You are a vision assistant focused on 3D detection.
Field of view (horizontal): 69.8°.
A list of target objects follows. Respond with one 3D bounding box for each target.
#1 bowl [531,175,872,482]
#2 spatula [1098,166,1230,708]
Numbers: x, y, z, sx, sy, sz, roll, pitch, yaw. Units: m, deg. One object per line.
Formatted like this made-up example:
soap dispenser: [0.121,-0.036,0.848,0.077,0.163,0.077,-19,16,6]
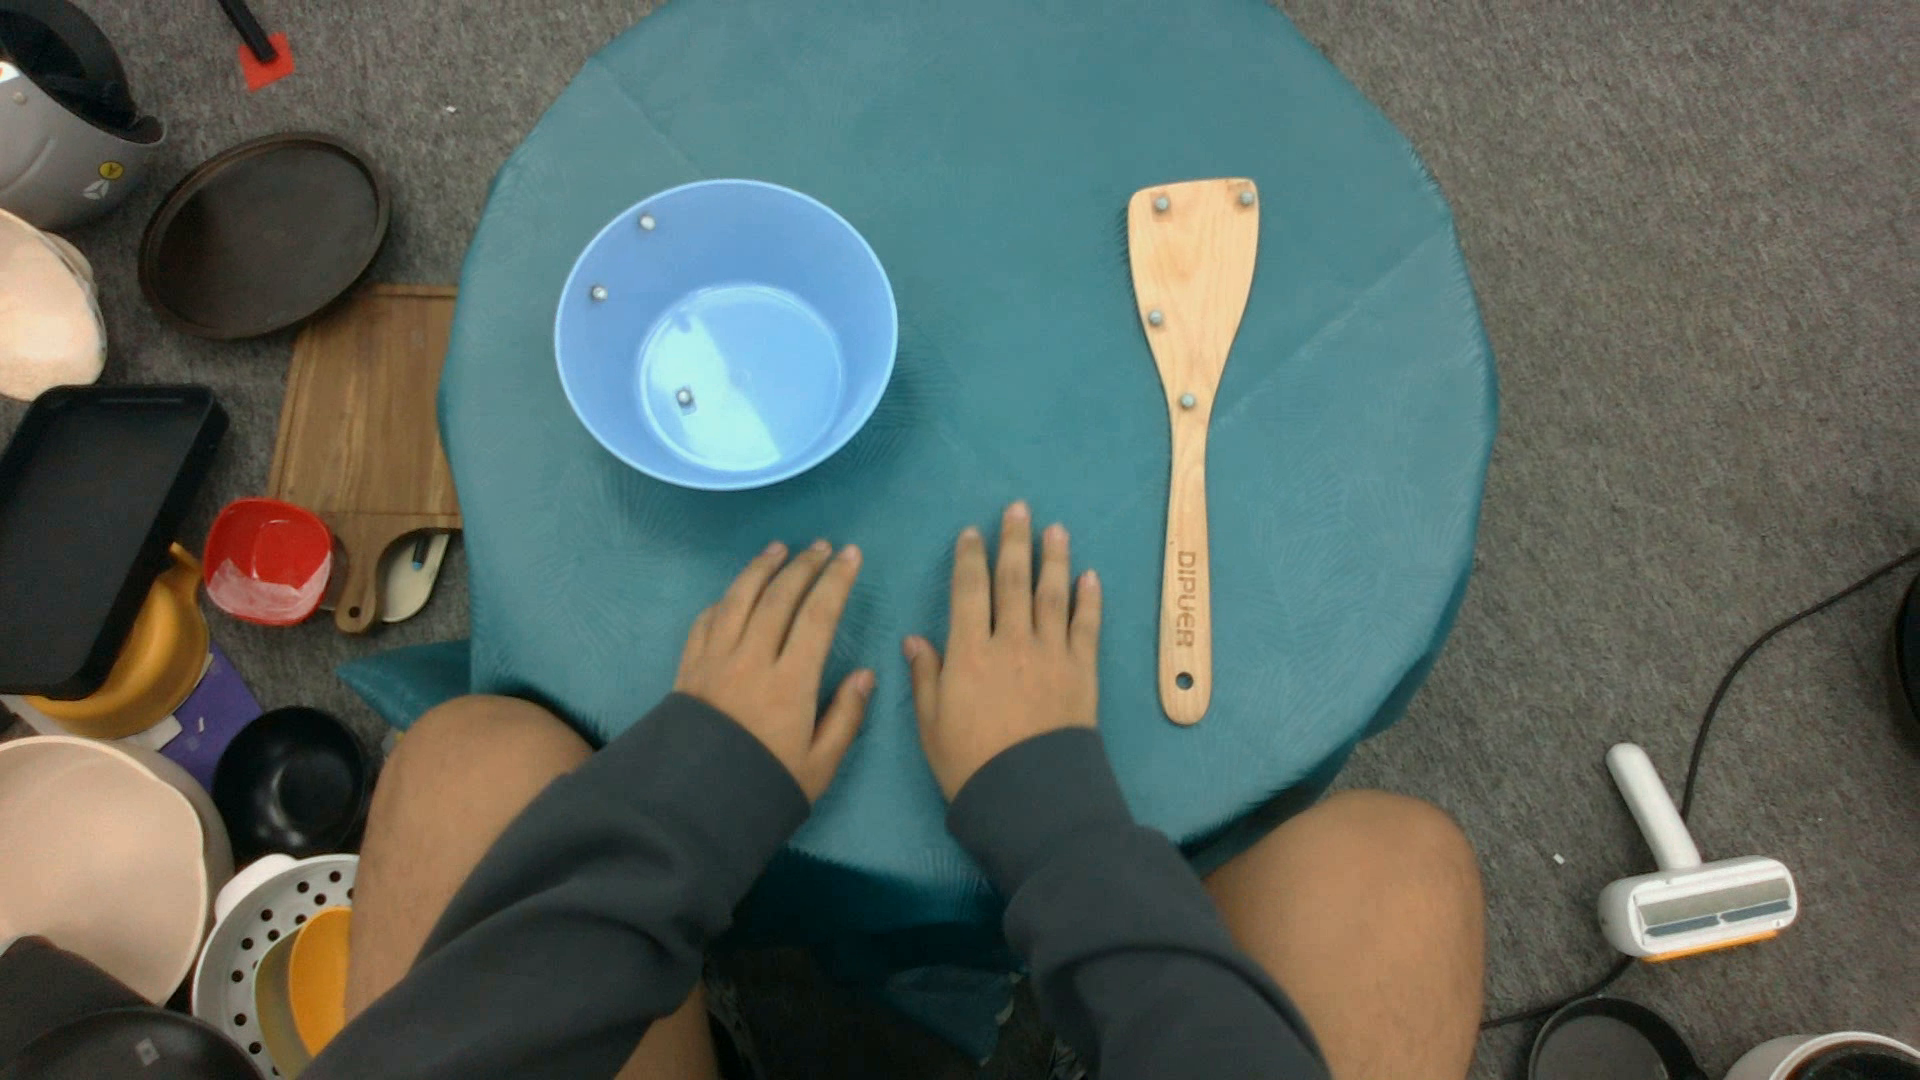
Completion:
bowl: [-0.135,-0.103,0.743,0.176,0.070,0.176,1,72,-4]
spatula: [0.115,-0.068,0.779,0.080,0.016,0.328,4,72,-4]
